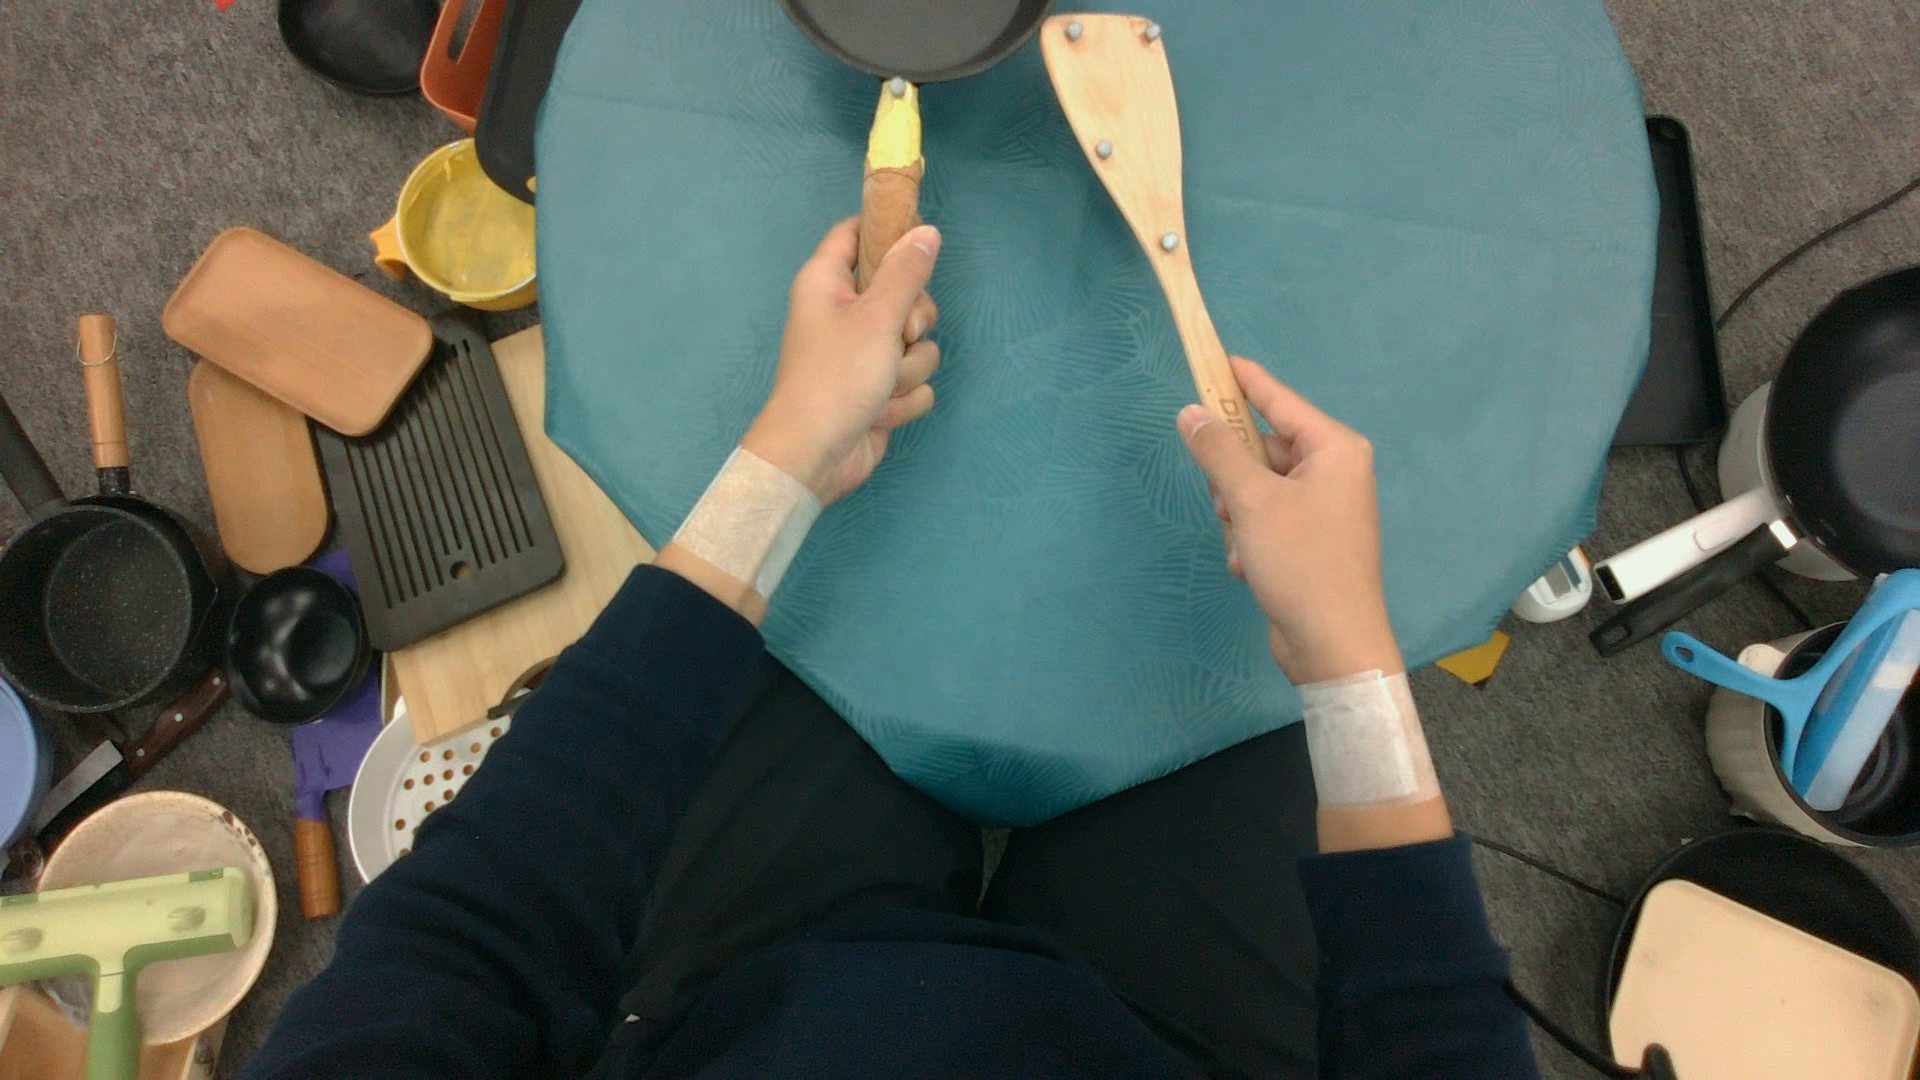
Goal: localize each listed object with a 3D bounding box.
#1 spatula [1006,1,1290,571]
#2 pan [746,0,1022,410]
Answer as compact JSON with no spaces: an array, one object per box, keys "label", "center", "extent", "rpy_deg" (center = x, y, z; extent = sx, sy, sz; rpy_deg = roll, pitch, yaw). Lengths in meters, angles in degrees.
[{"label":"spatula","center":[0.093,-0.134,0.655],"extent":[0.080,0.016,0.328],"rpy_deg":[-3,64,-30]},{"label":"pan","center":[-0.047,-0.220,0.677],"extent":[0.169,0.049,0.324],"rpy_deg":[5,81,-7]}]
